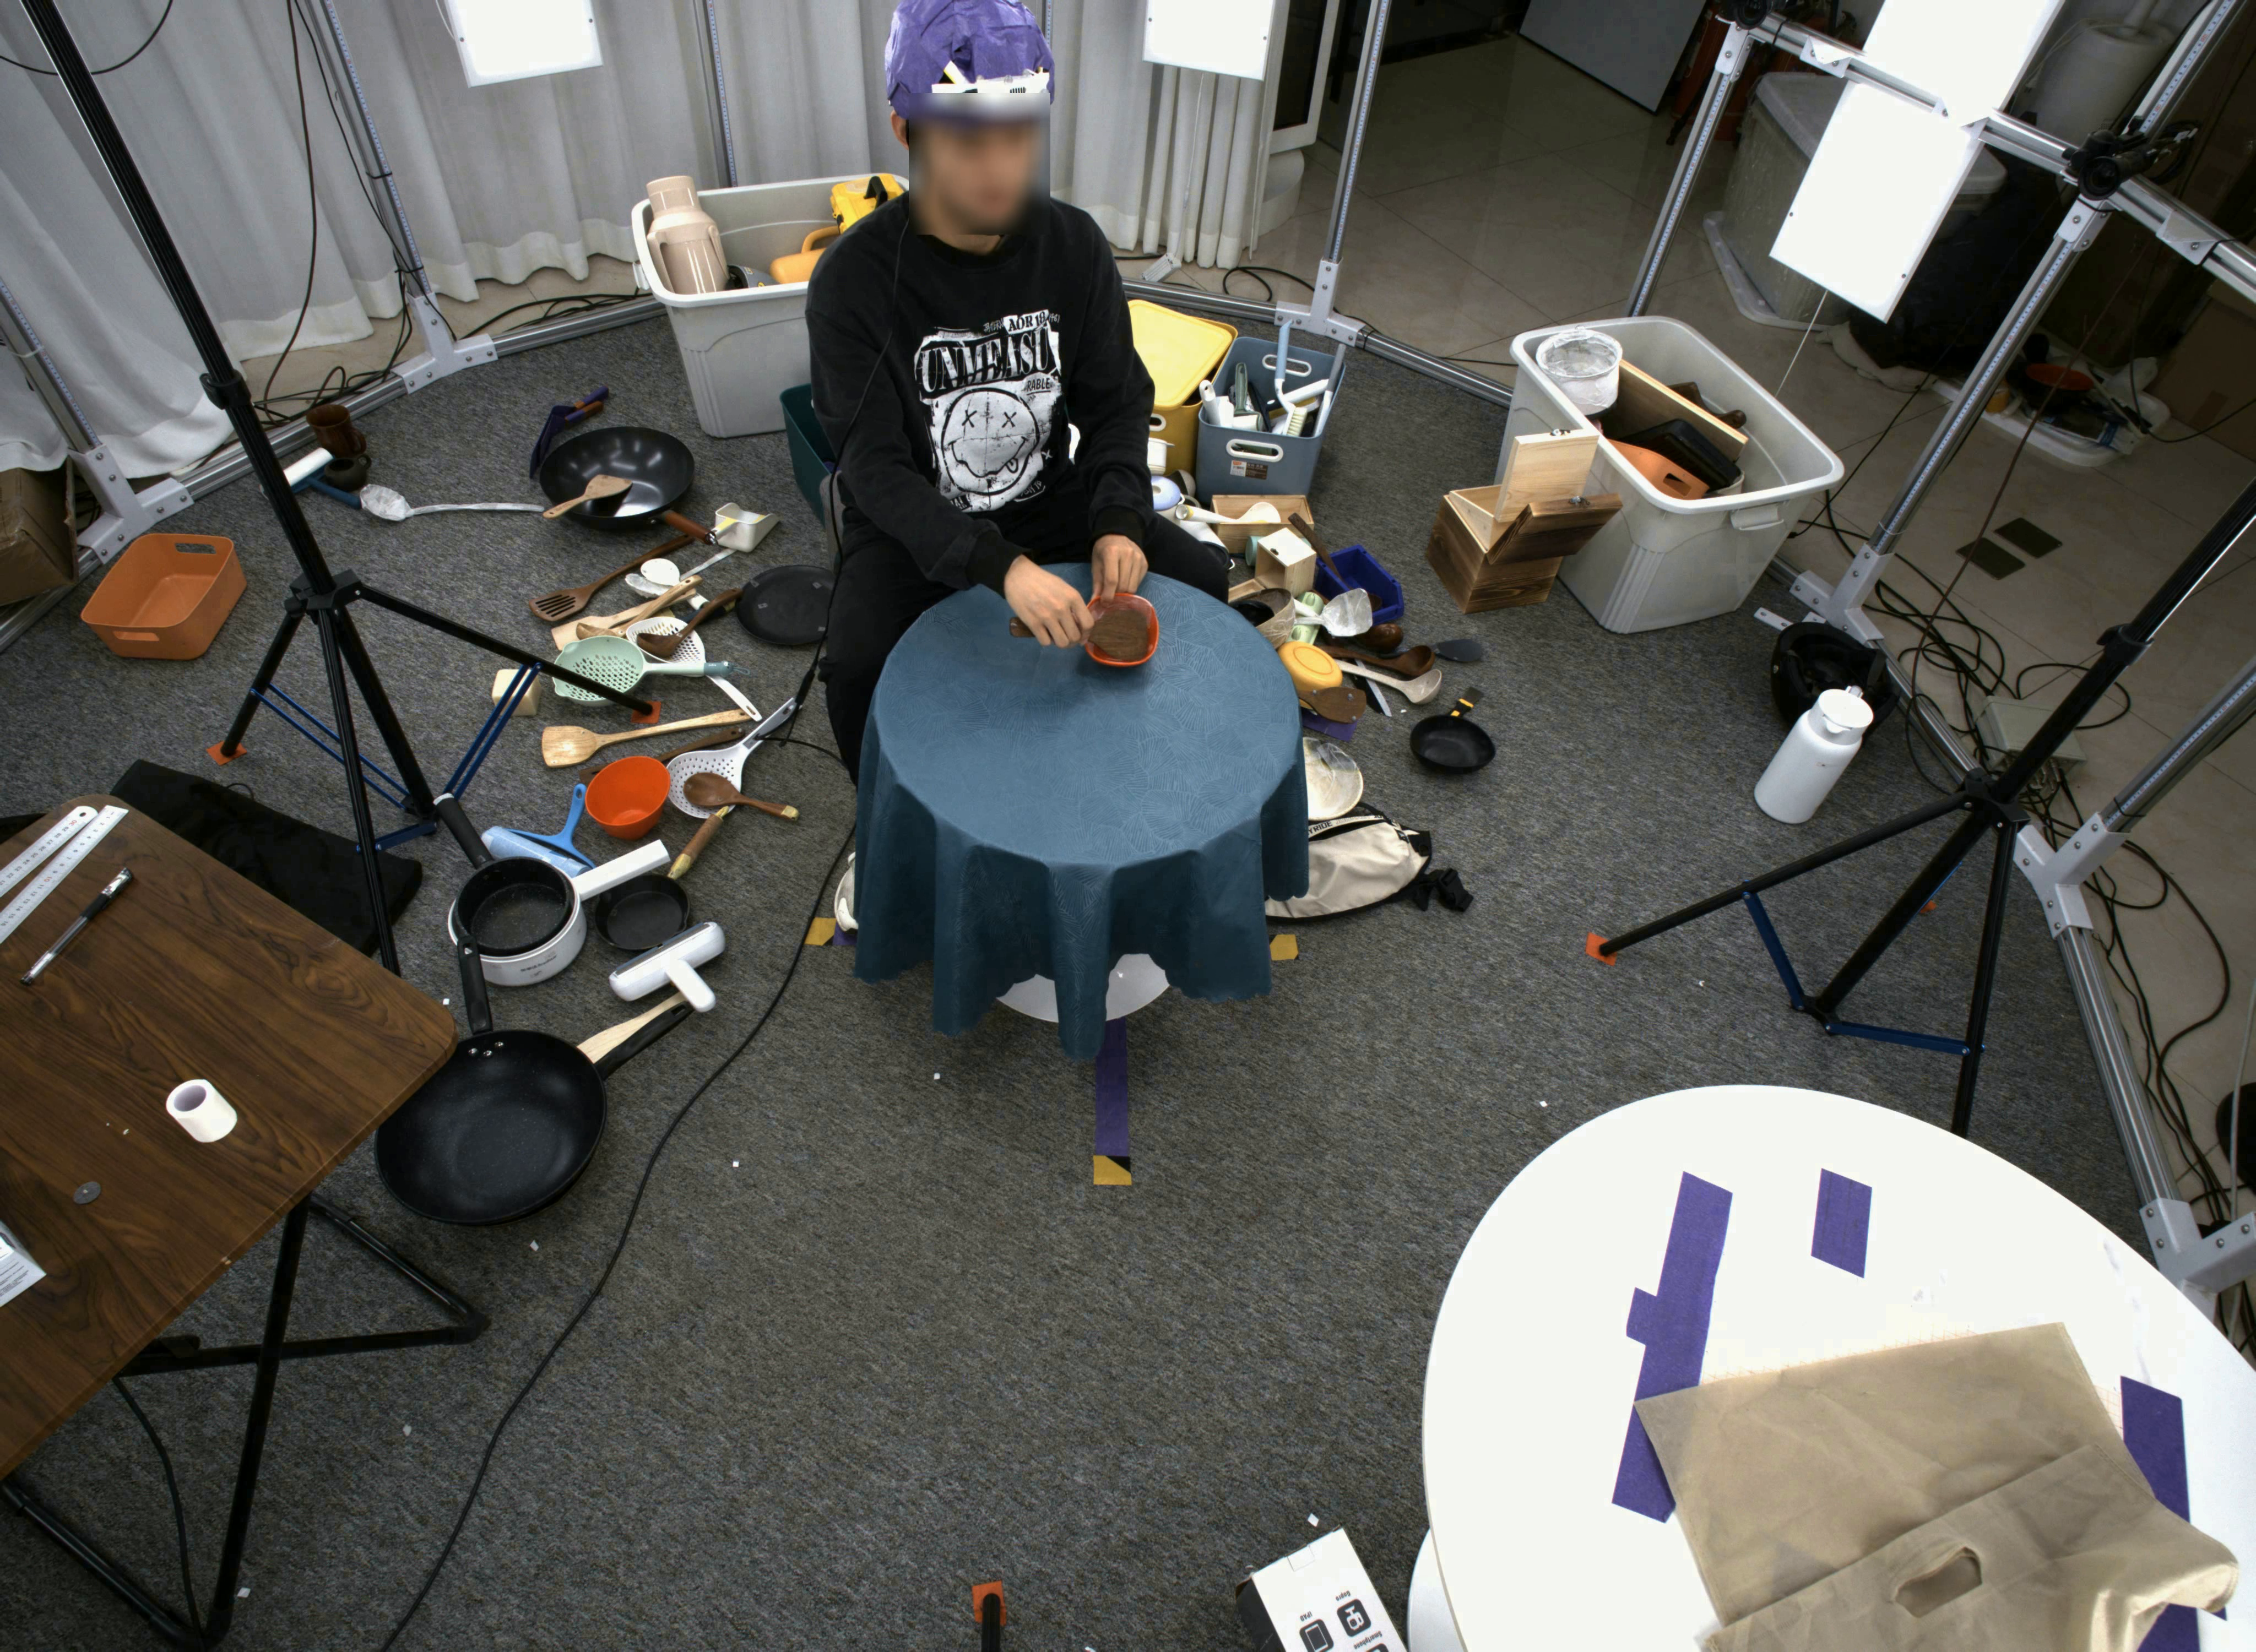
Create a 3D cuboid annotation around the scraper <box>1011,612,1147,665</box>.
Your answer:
[{"bbox_3d":[-0.068,-0.273,1.819,0.210,0.011,0.076,1,87,-27],"label":"scraper"}]

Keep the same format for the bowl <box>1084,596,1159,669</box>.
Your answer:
[{"bbox_3d":[-0.012,-0.276,1.877,0.119,0.051,0.120,1,75,-6],"label":"bowl"}]
